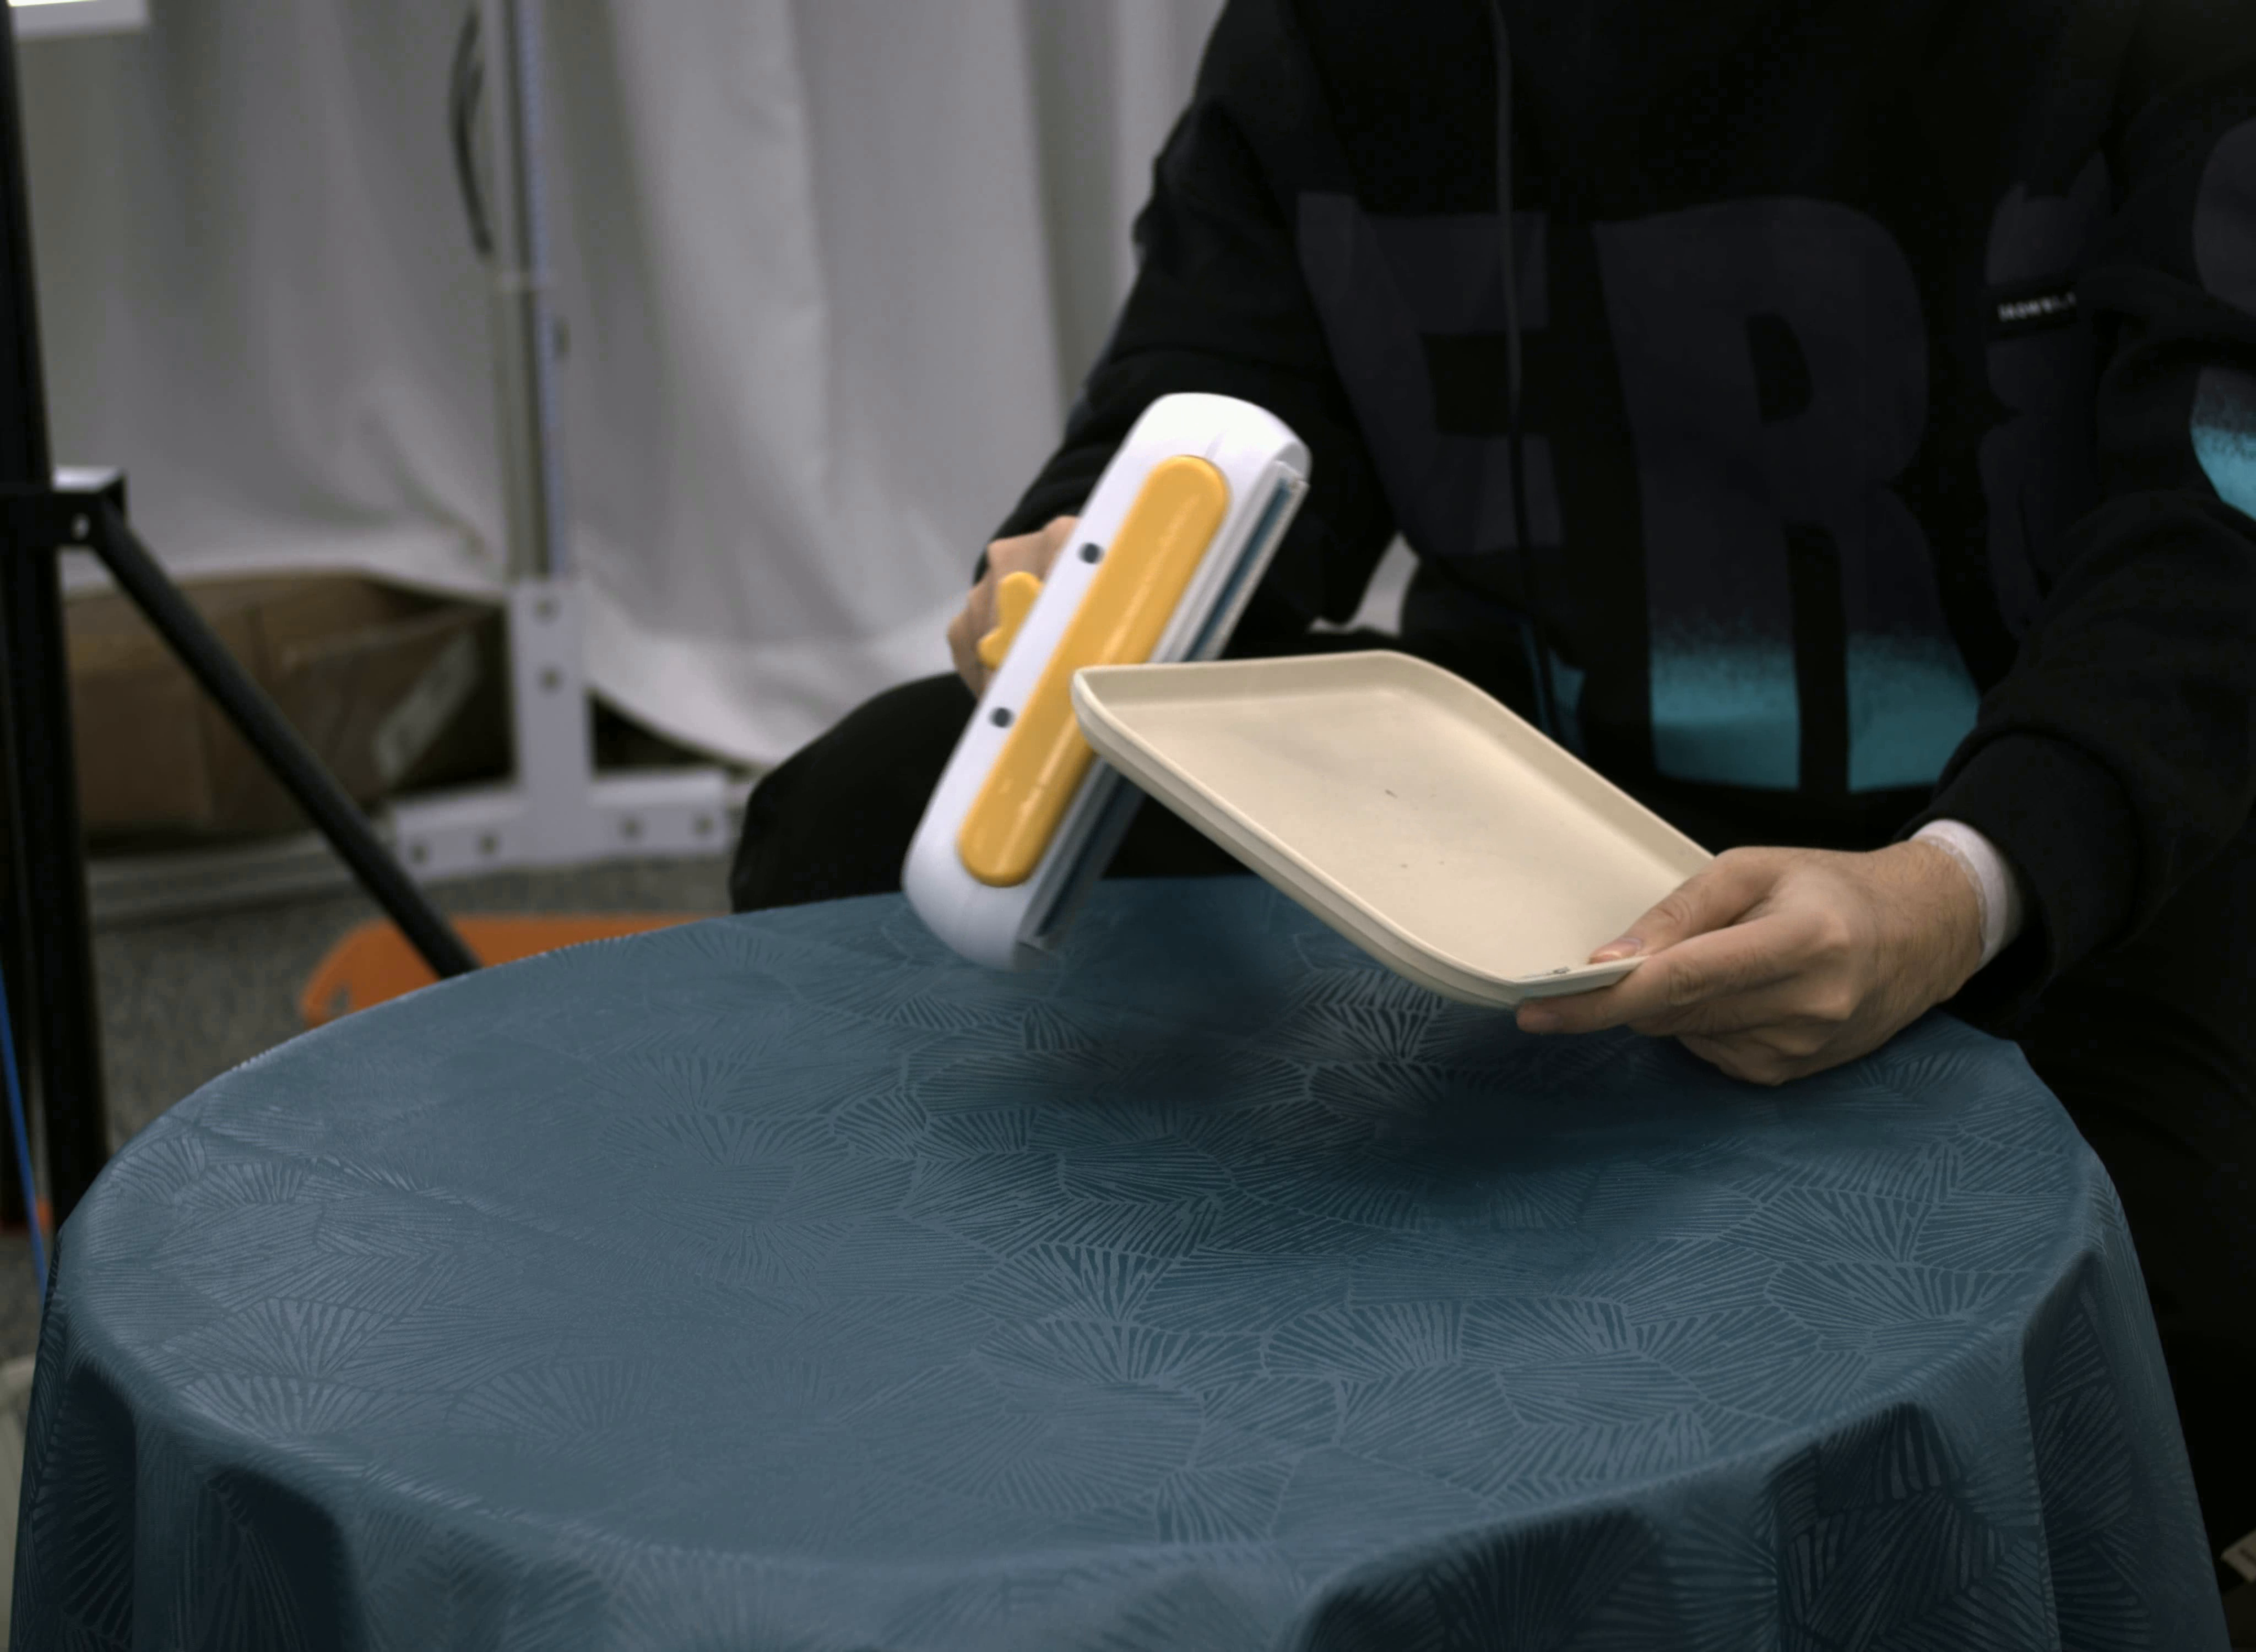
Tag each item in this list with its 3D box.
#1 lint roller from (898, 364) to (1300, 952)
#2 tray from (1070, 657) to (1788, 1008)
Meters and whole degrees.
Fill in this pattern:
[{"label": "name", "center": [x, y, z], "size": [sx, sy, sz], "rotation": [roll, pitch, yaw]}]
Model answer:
[{"label": "lint roller", "center": [-0.011, -0.049, 1.706], "size": [0.074, 0.193, 0.191], "rotation": [24, -4, 7]}, {"label": "tray", "center": [0.093, 0.001, 1.618], "size": [0.174, 0.017, 0.234], "rotation": [36, 20, 26]}]
